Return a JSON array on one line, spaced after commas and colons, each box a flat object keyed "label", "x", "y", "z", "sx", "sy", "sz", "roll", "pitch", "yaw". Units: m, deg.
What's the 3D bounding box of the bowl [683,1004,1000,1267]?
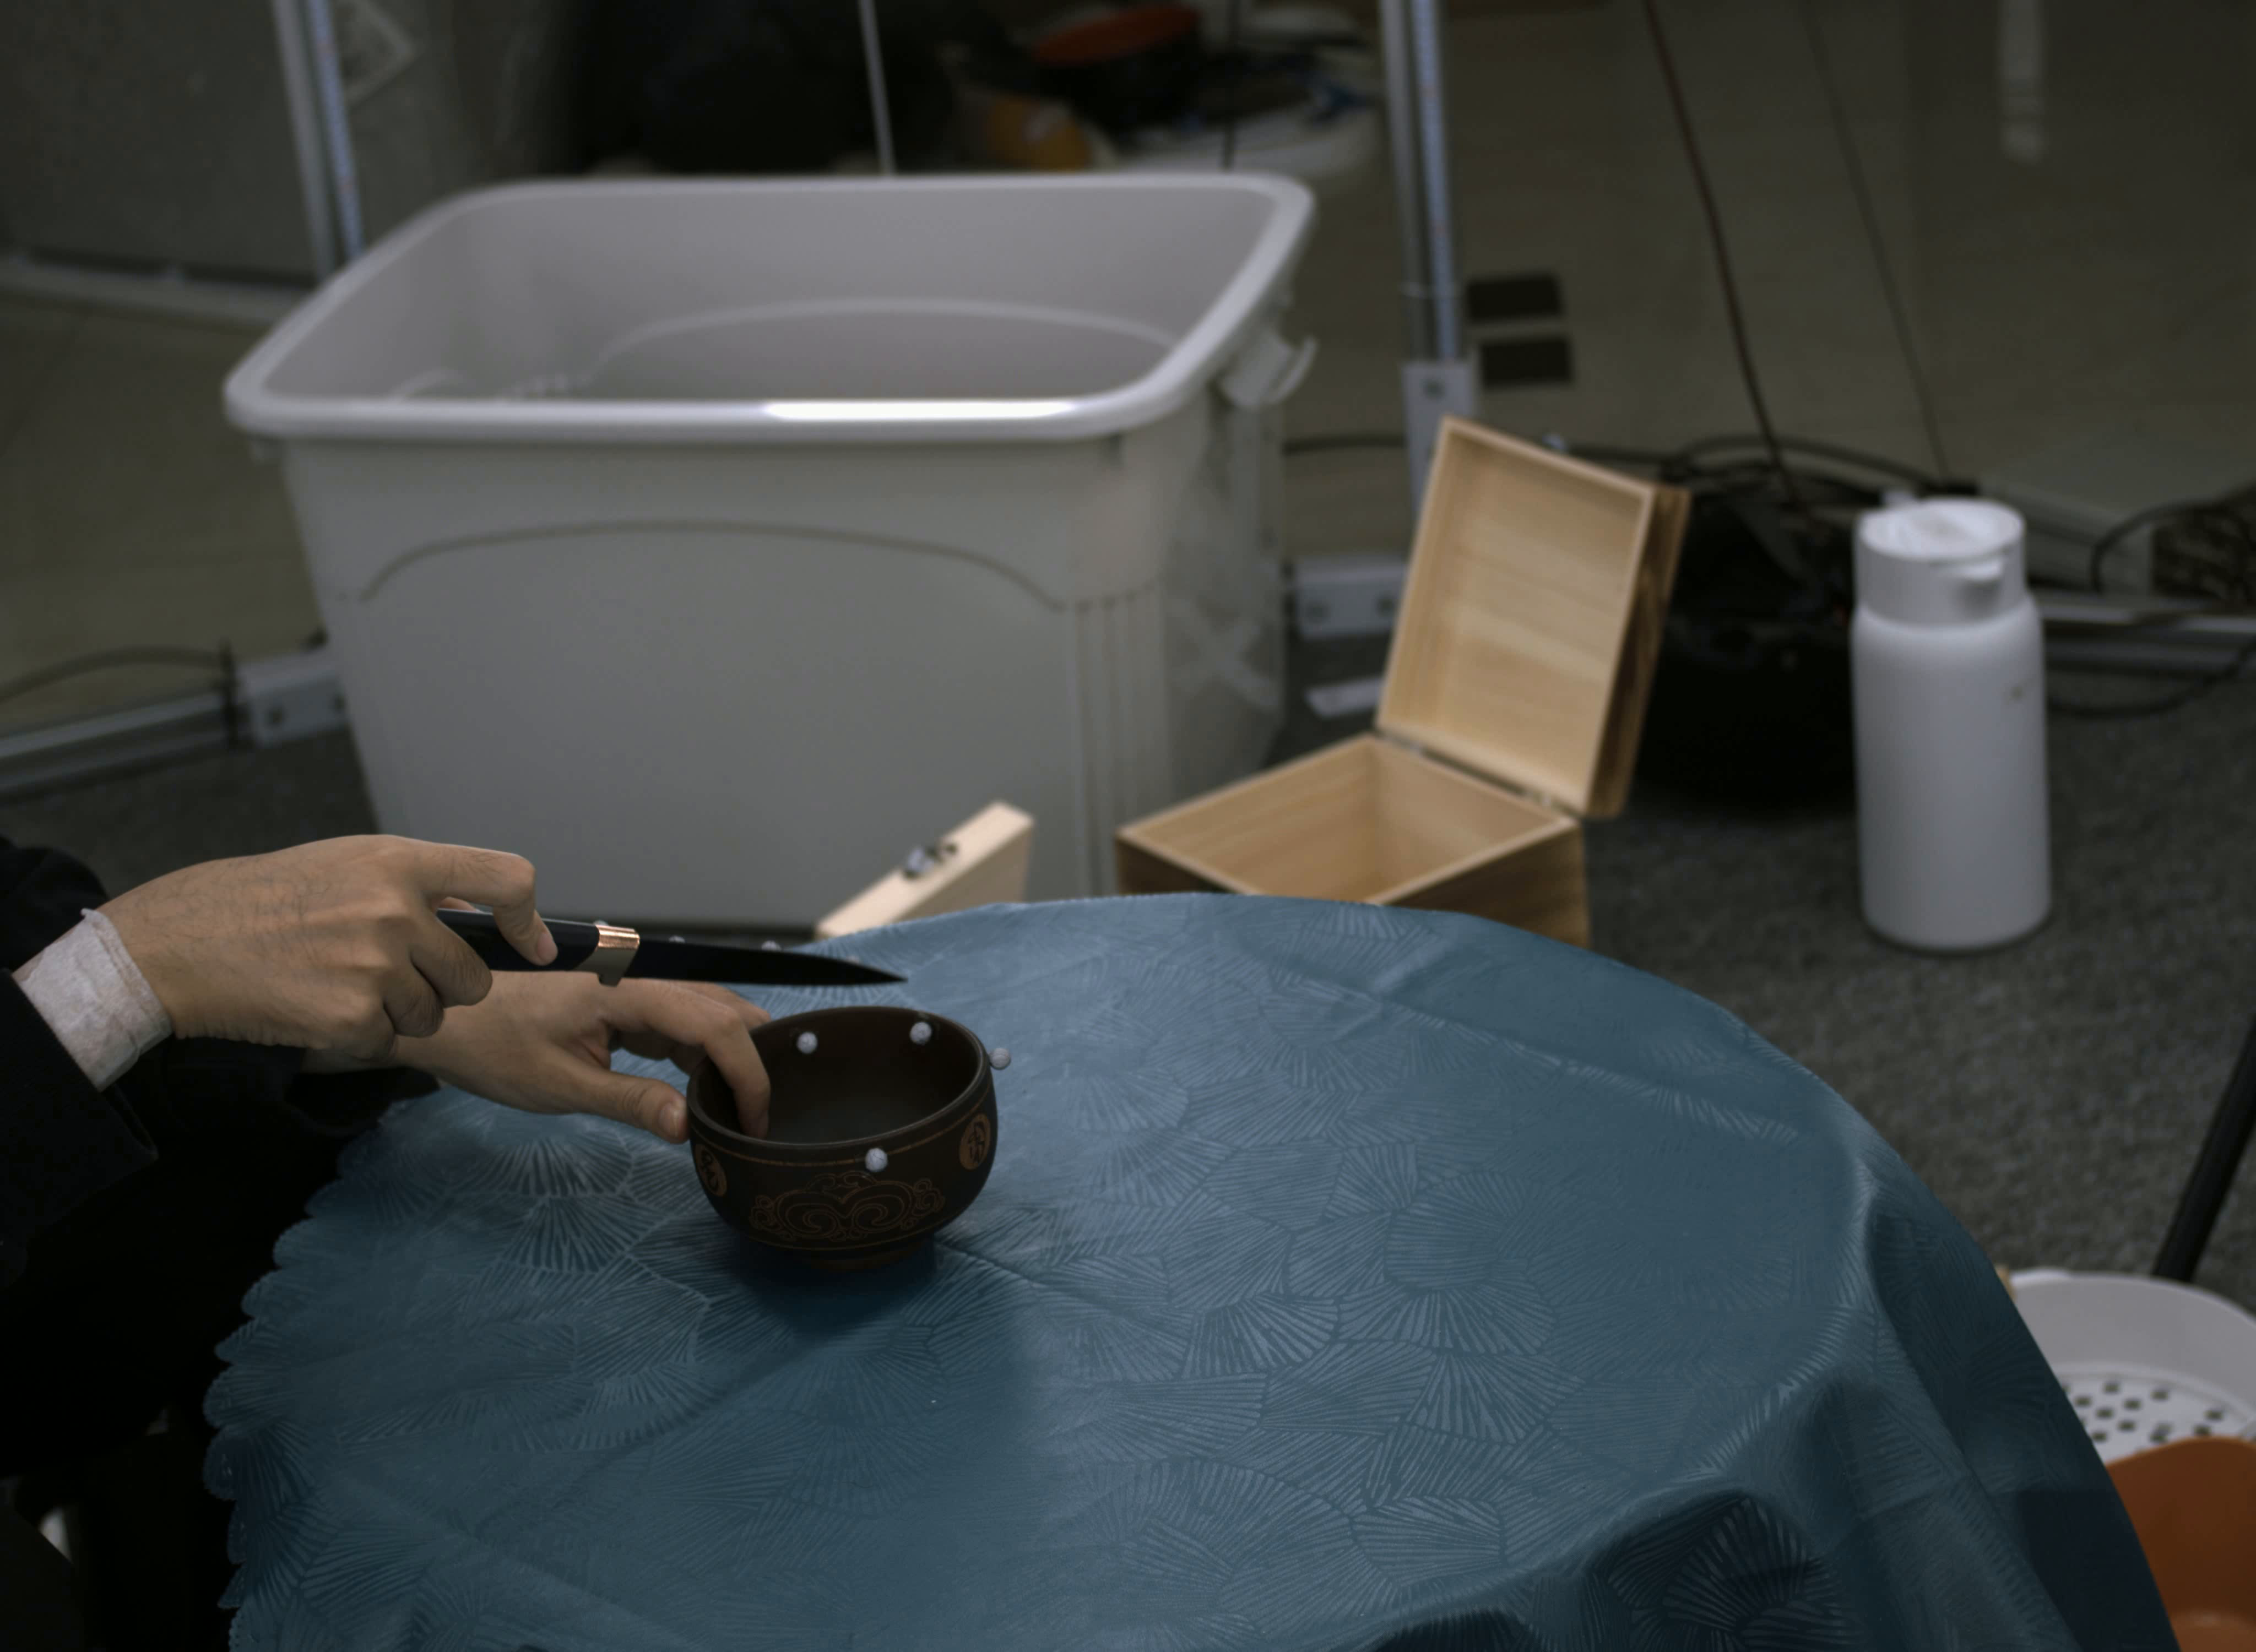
[{"label": "bowl", "x": -0.105, "y": 0.122, "z": 2.120, "sx": 0.118, "sy": 0.071, "sz": 0.116, "roll": -7, "pitch": 23, "yaw": 3}]

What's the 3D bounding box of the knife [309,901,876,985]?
[{"label": "knife", "x": -0.190, "y": 0.044, "z": 2.038, "sx": 0.226, "sy": 0.017, "sz": 0.026, "roll": 7, "pitch": -20, "yaw": -28}]
